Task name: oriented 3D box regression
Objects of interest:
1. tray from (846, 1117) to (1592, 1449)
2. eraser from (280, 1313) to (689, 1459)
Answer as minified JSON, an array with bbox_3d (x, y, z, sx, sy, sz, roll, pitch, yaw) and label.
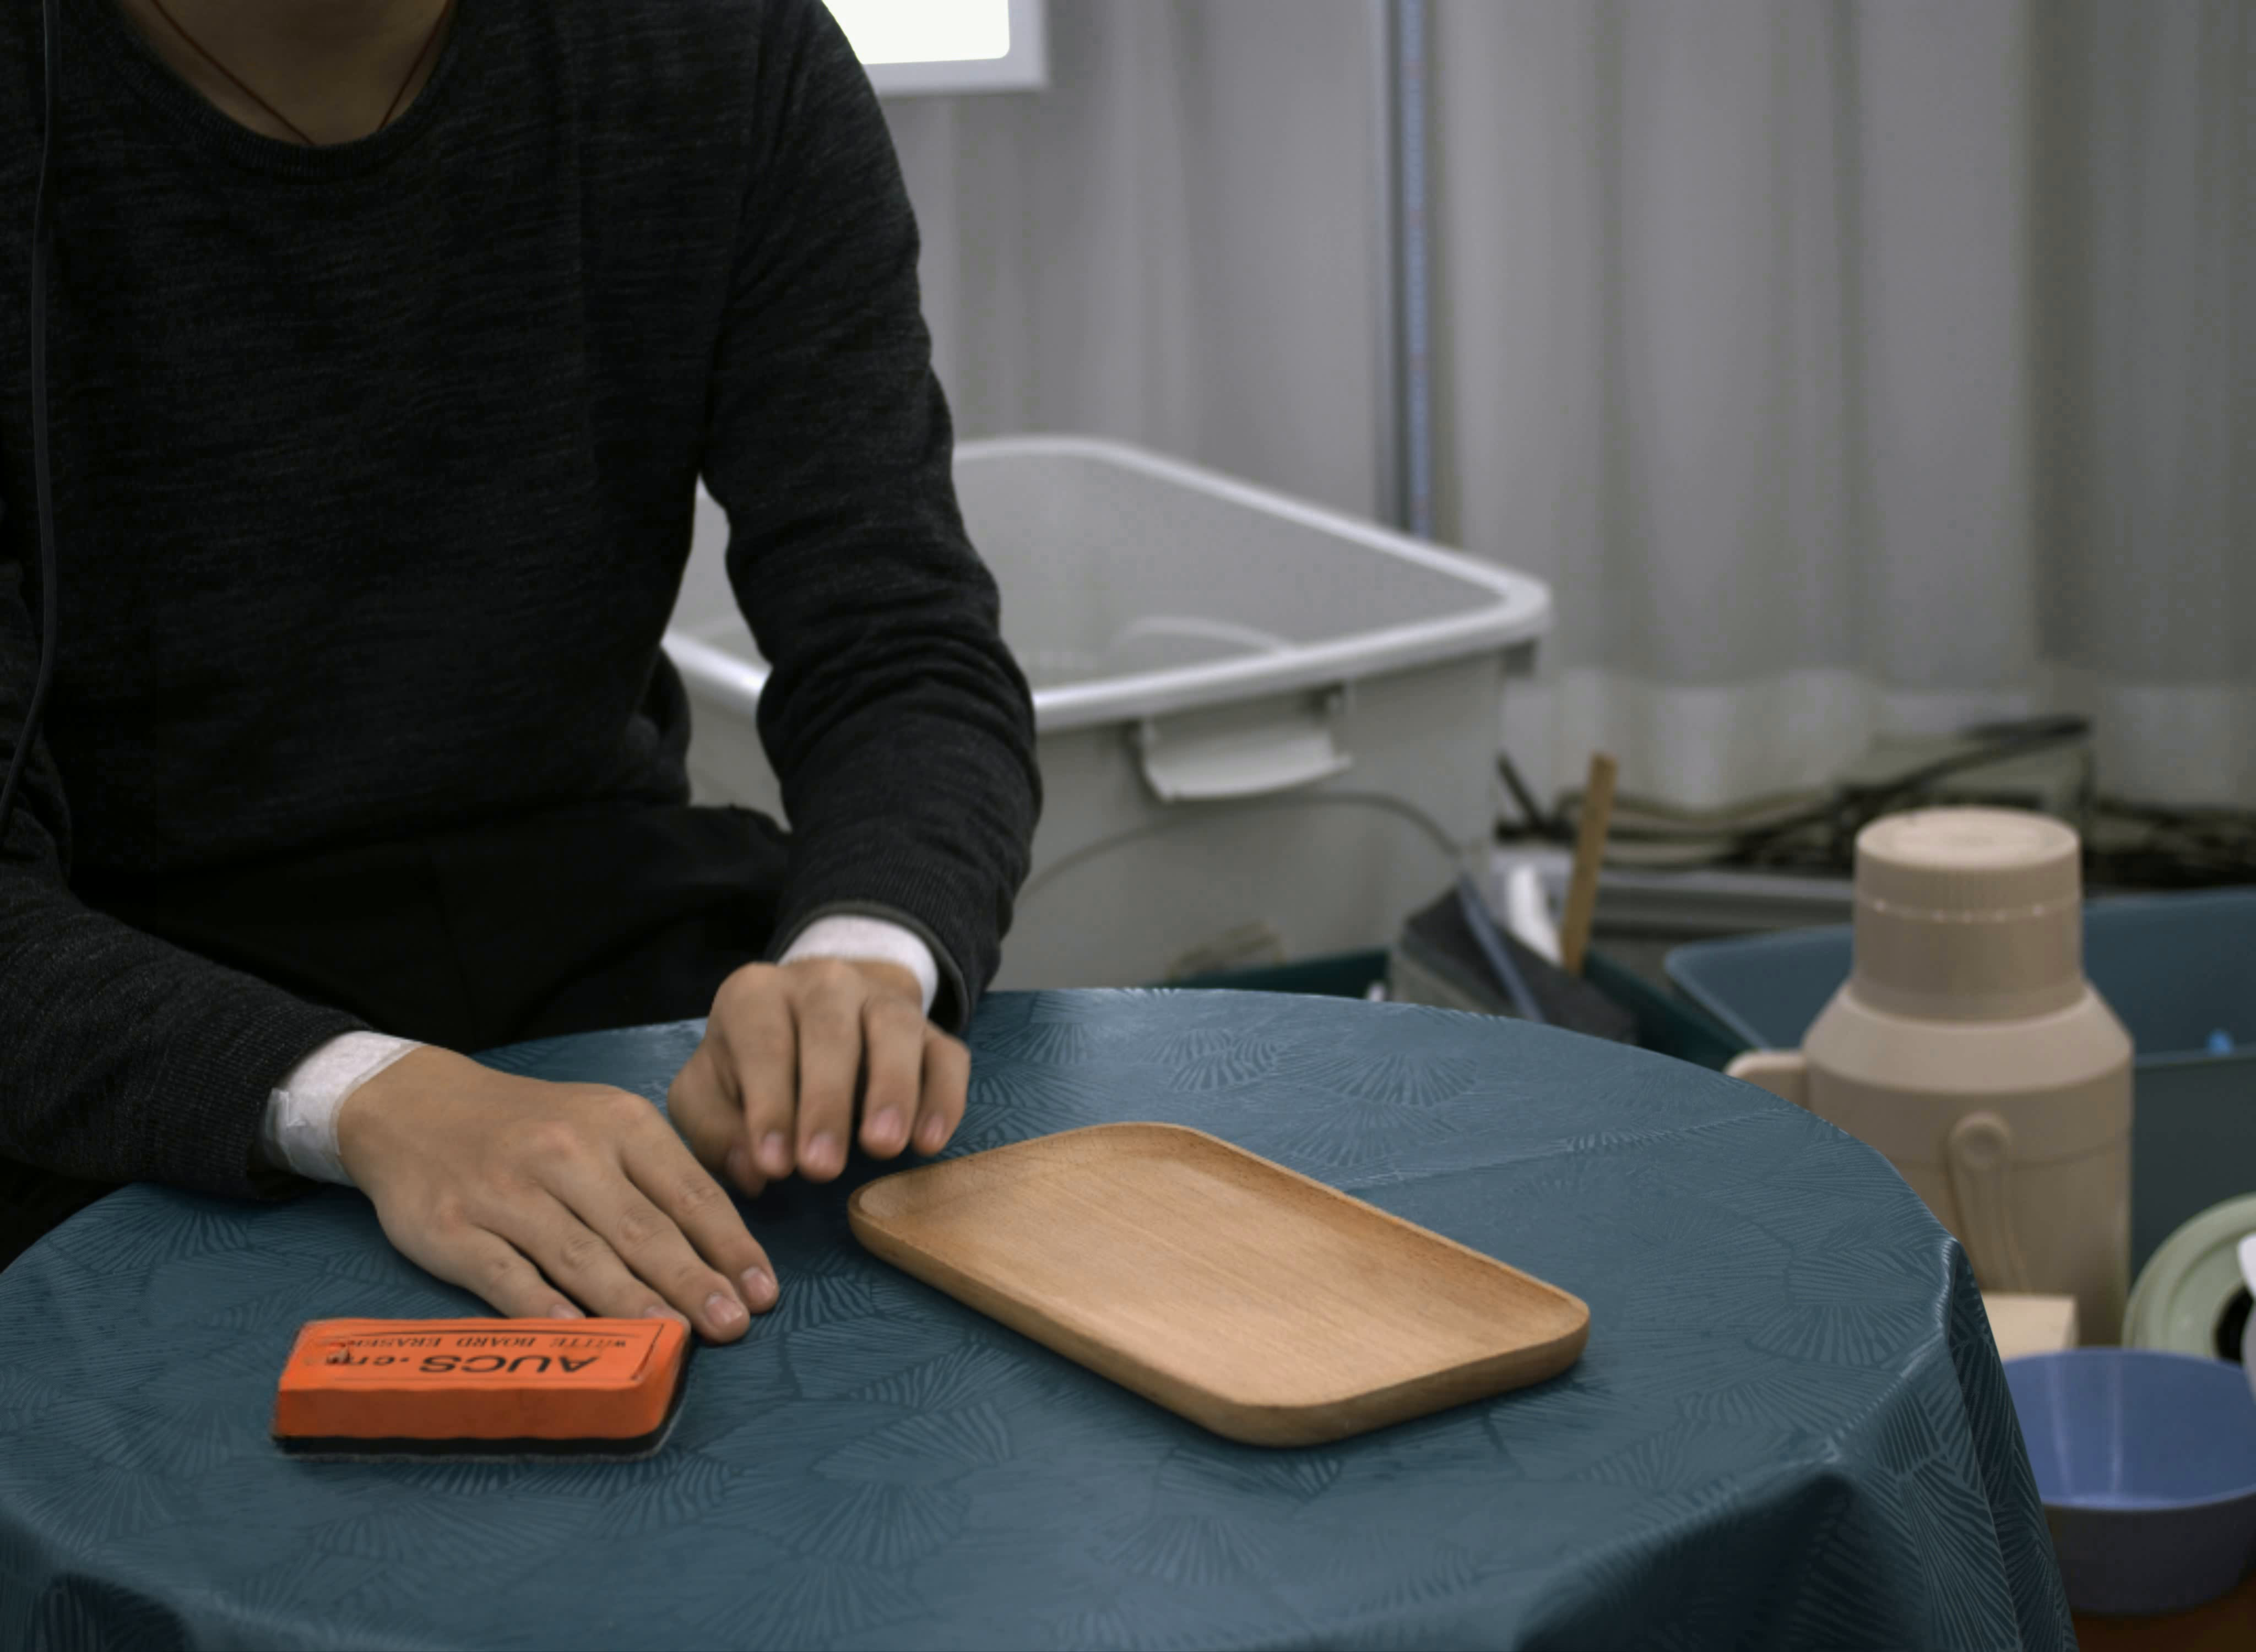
[{"bbox_3d":[0.023,0.132,1.611,0.130,0.023,0.252,-9,15,-30],"label":"tray"},{"bbox_3d":[-0.180,0.158,1.539,0.108,0.023,0.059,0,14,10],"label":"eraser"}]
